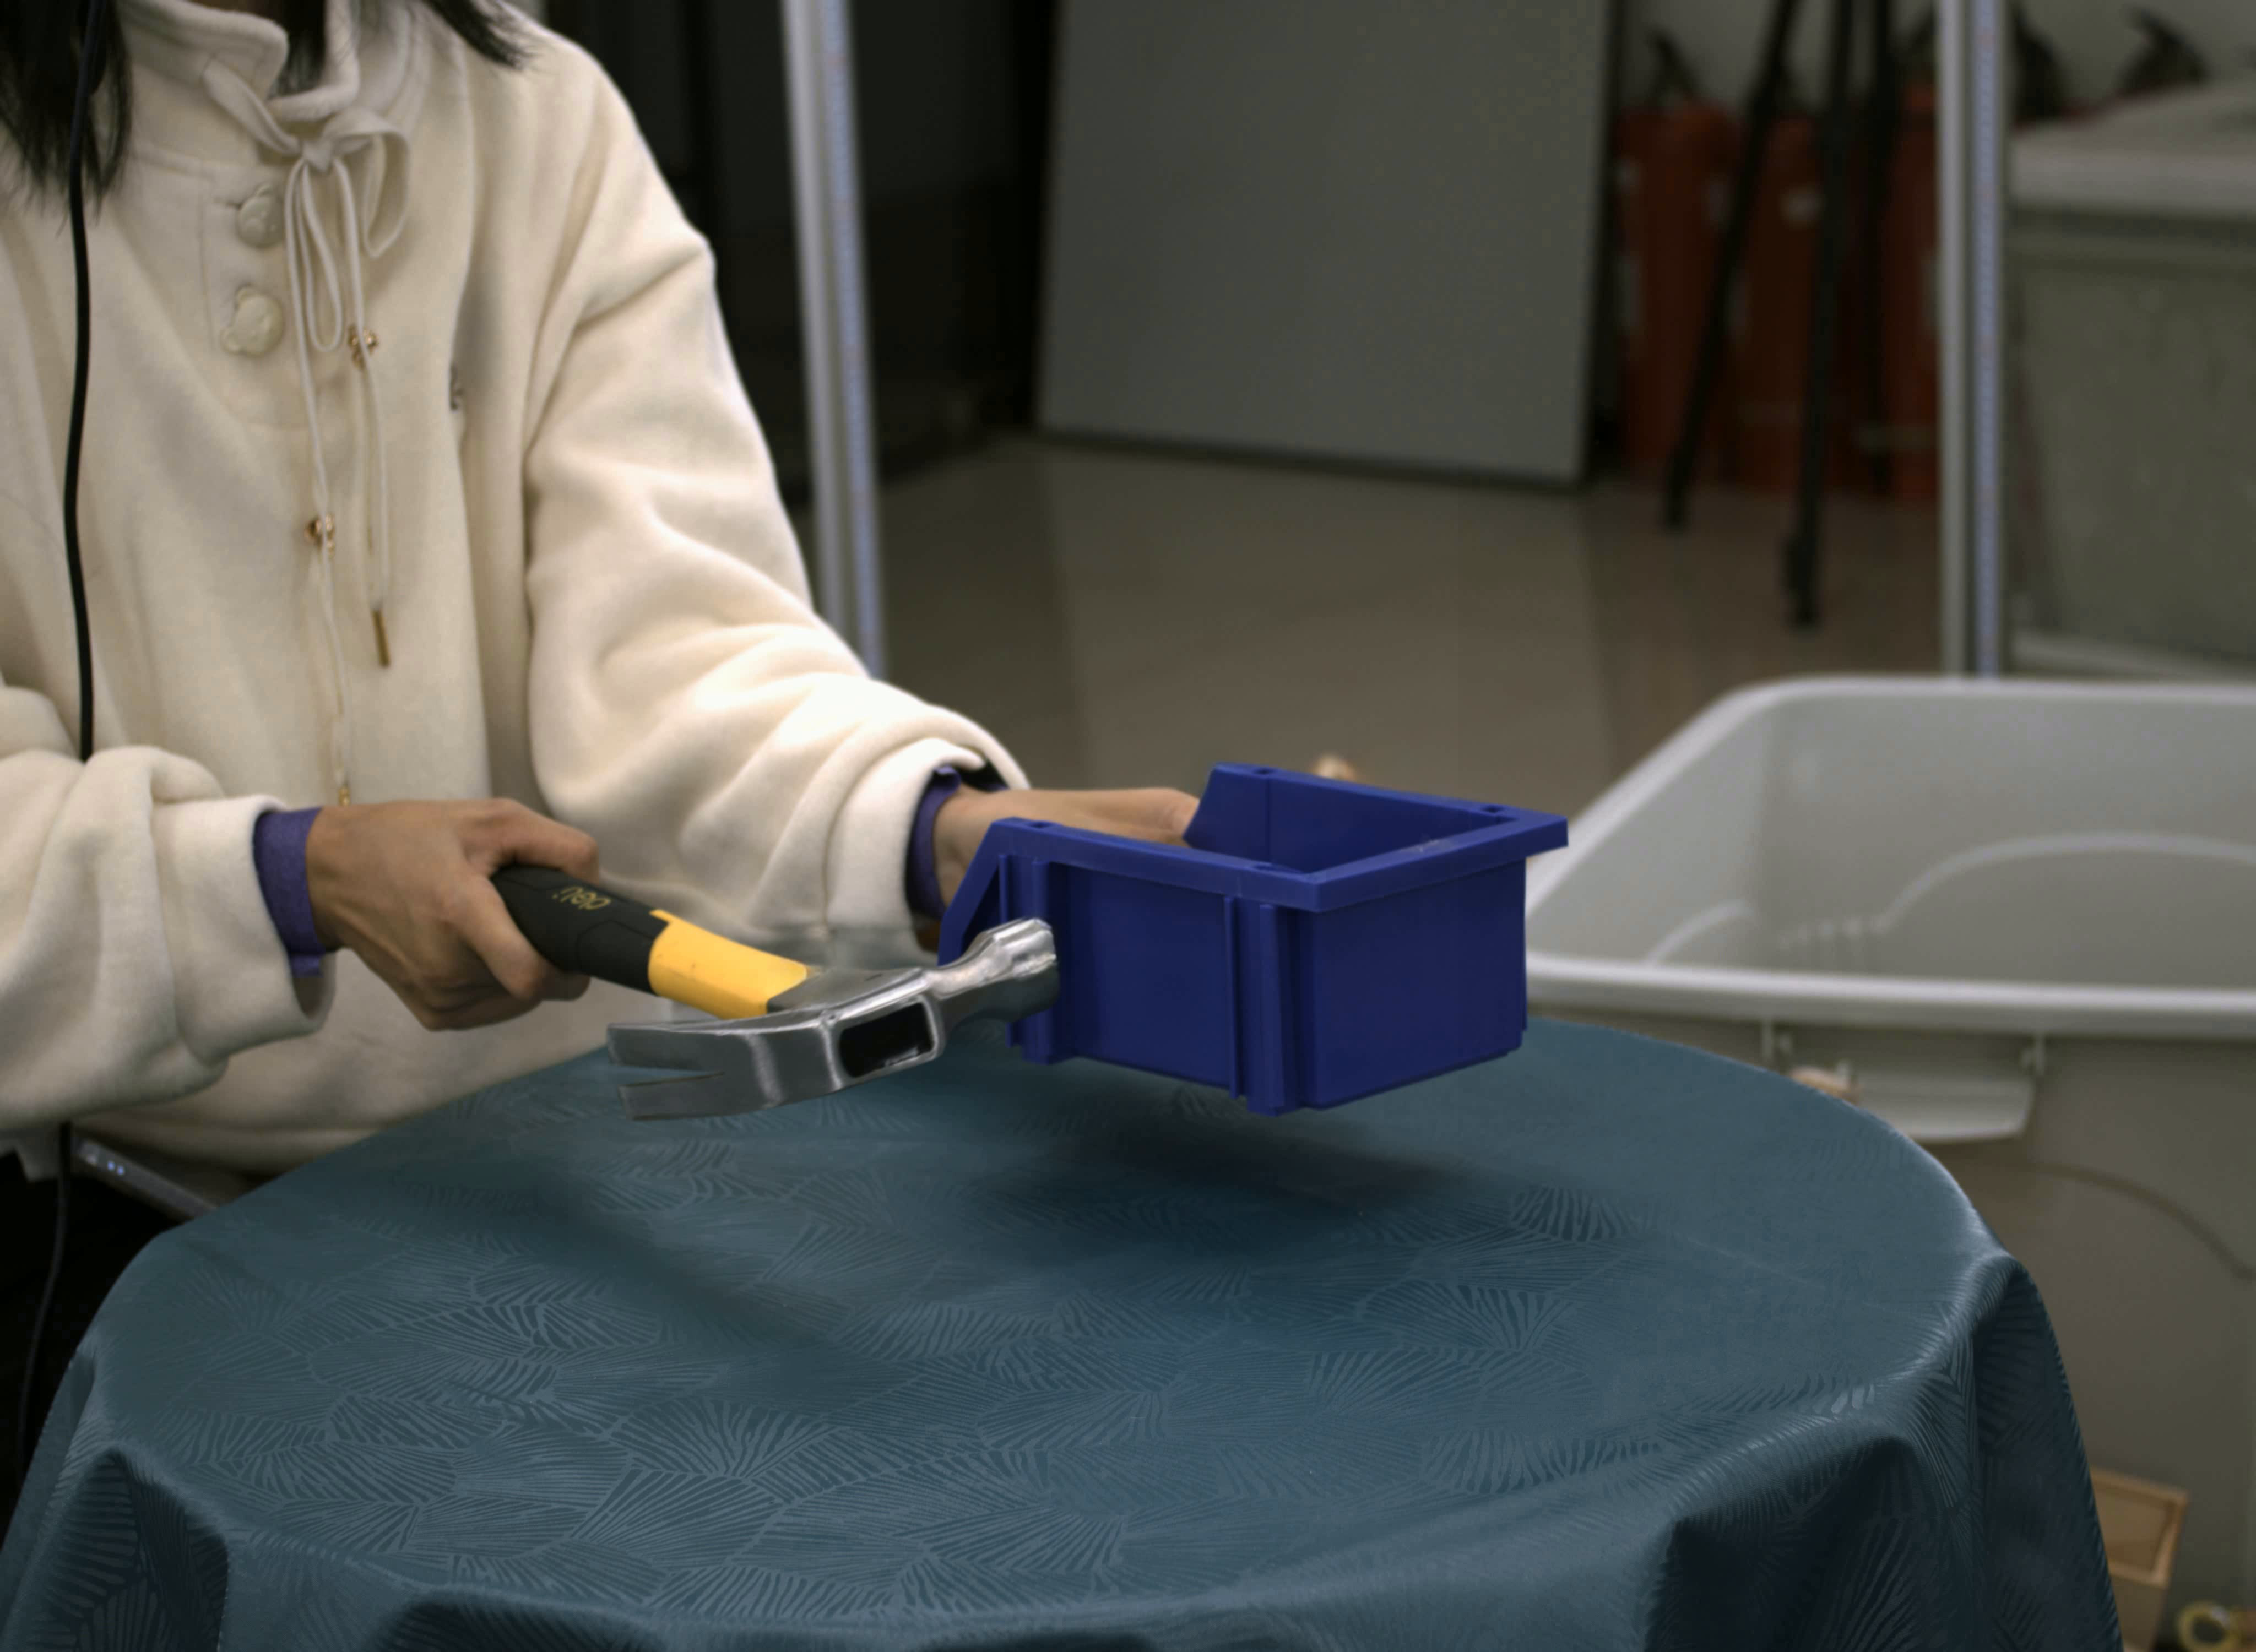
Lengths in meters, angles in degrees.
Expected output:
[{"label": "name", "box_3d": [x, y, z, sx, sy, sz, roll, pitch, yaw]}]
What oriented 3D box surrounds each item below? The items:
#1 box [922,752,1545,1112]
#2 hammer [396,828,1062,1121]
[{"label": "box", "box_3d": [0.031, 0.032, 1.775, 0.122, 0.083, 0.181, -13, 17, -41]}, {"label": "hammer", "box_3d": [-0.158, 0.038, 1.776, 0.129, 0.032, 0.342, -22, 19, -26]}]
